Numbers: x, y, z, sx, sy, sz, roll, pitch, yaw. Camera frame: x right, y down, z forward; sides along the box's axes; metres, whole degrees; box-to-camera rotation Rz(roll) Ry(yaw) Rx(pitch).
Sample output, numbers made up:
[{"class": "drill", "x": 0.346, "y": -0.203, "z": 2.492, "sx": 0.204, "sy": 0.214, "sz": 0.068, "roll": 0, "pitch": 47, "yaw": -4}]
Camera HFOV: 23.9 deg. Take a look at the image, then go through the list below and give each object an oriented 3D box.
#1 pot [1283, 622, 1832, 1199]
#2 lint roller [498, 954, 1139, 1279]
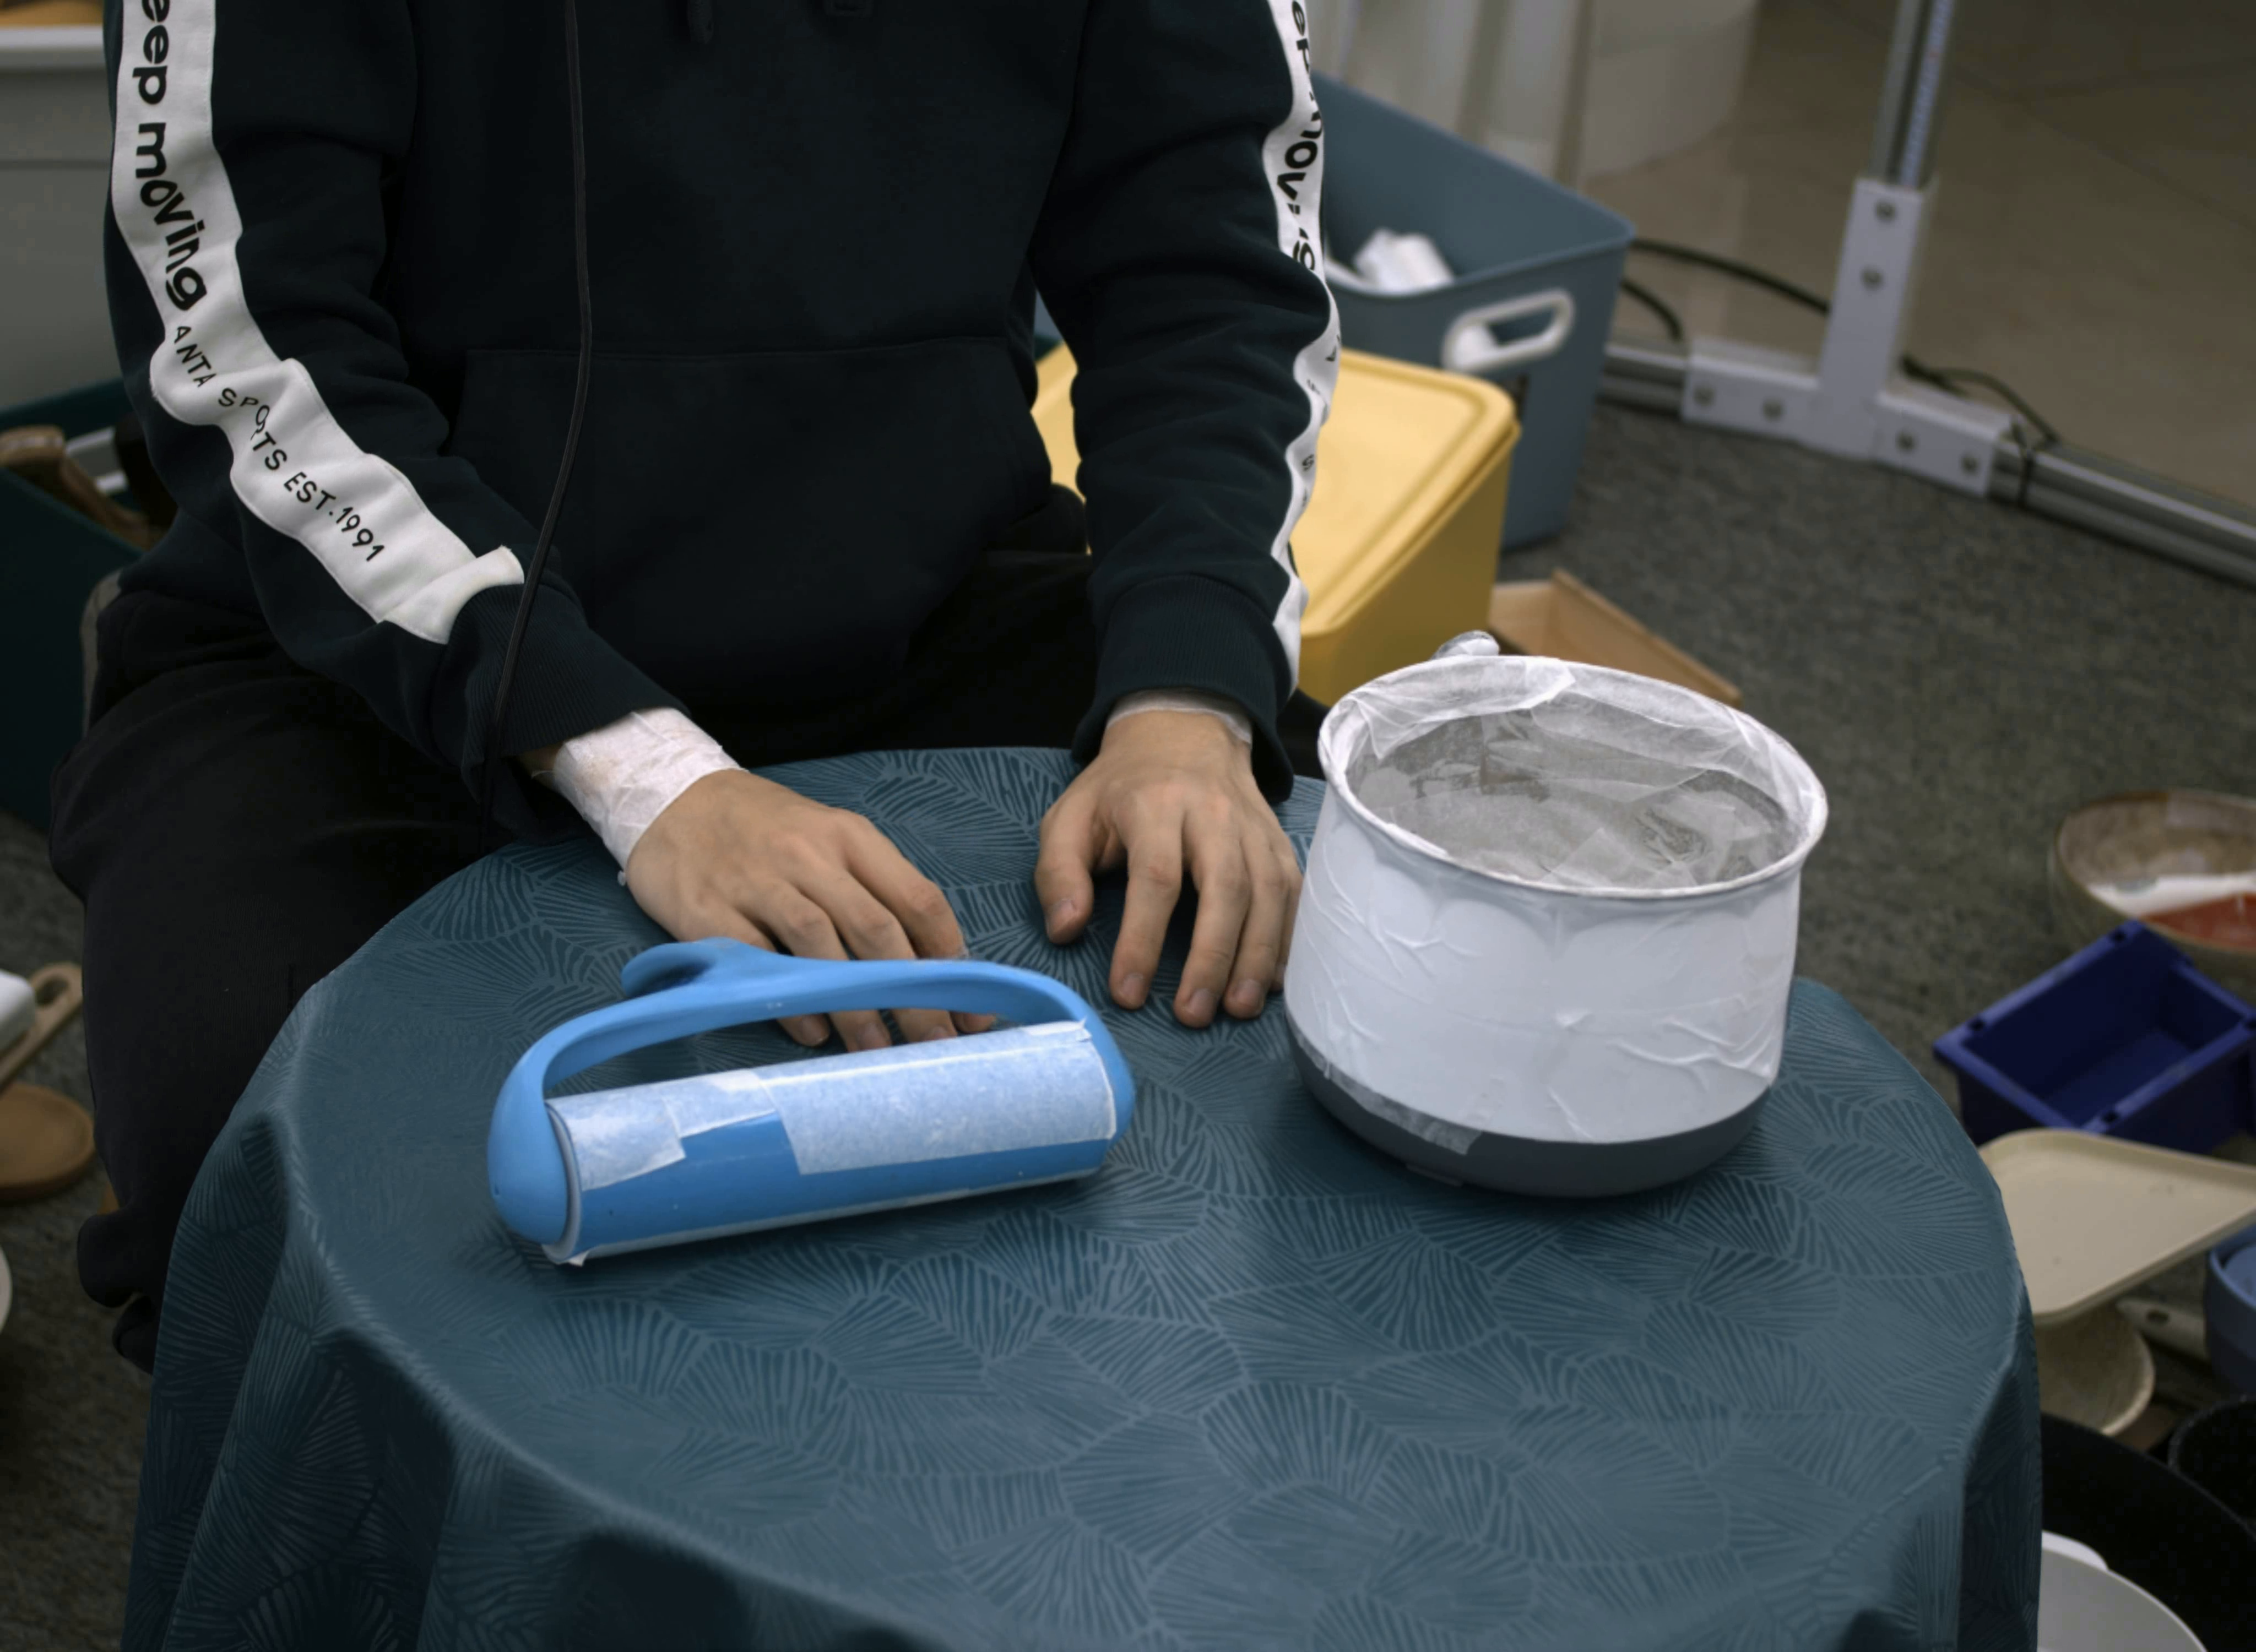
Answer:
[{"class": "pot", "x": 0.138, "y": 0.022, "z": 1.873, "sx": 0.177, "sy": 0.136, "sz": 0.236, "roll": -2, "pitch": 29, "yaw": -18}, {"class": "lint roller", "x": -0.129, "y": 0.078, "z": 1.798, "sx": 0.227, "sy": 0.067, "sz": 0.182, "roll": -12, "pitch": 33, "yaw": -28}]
